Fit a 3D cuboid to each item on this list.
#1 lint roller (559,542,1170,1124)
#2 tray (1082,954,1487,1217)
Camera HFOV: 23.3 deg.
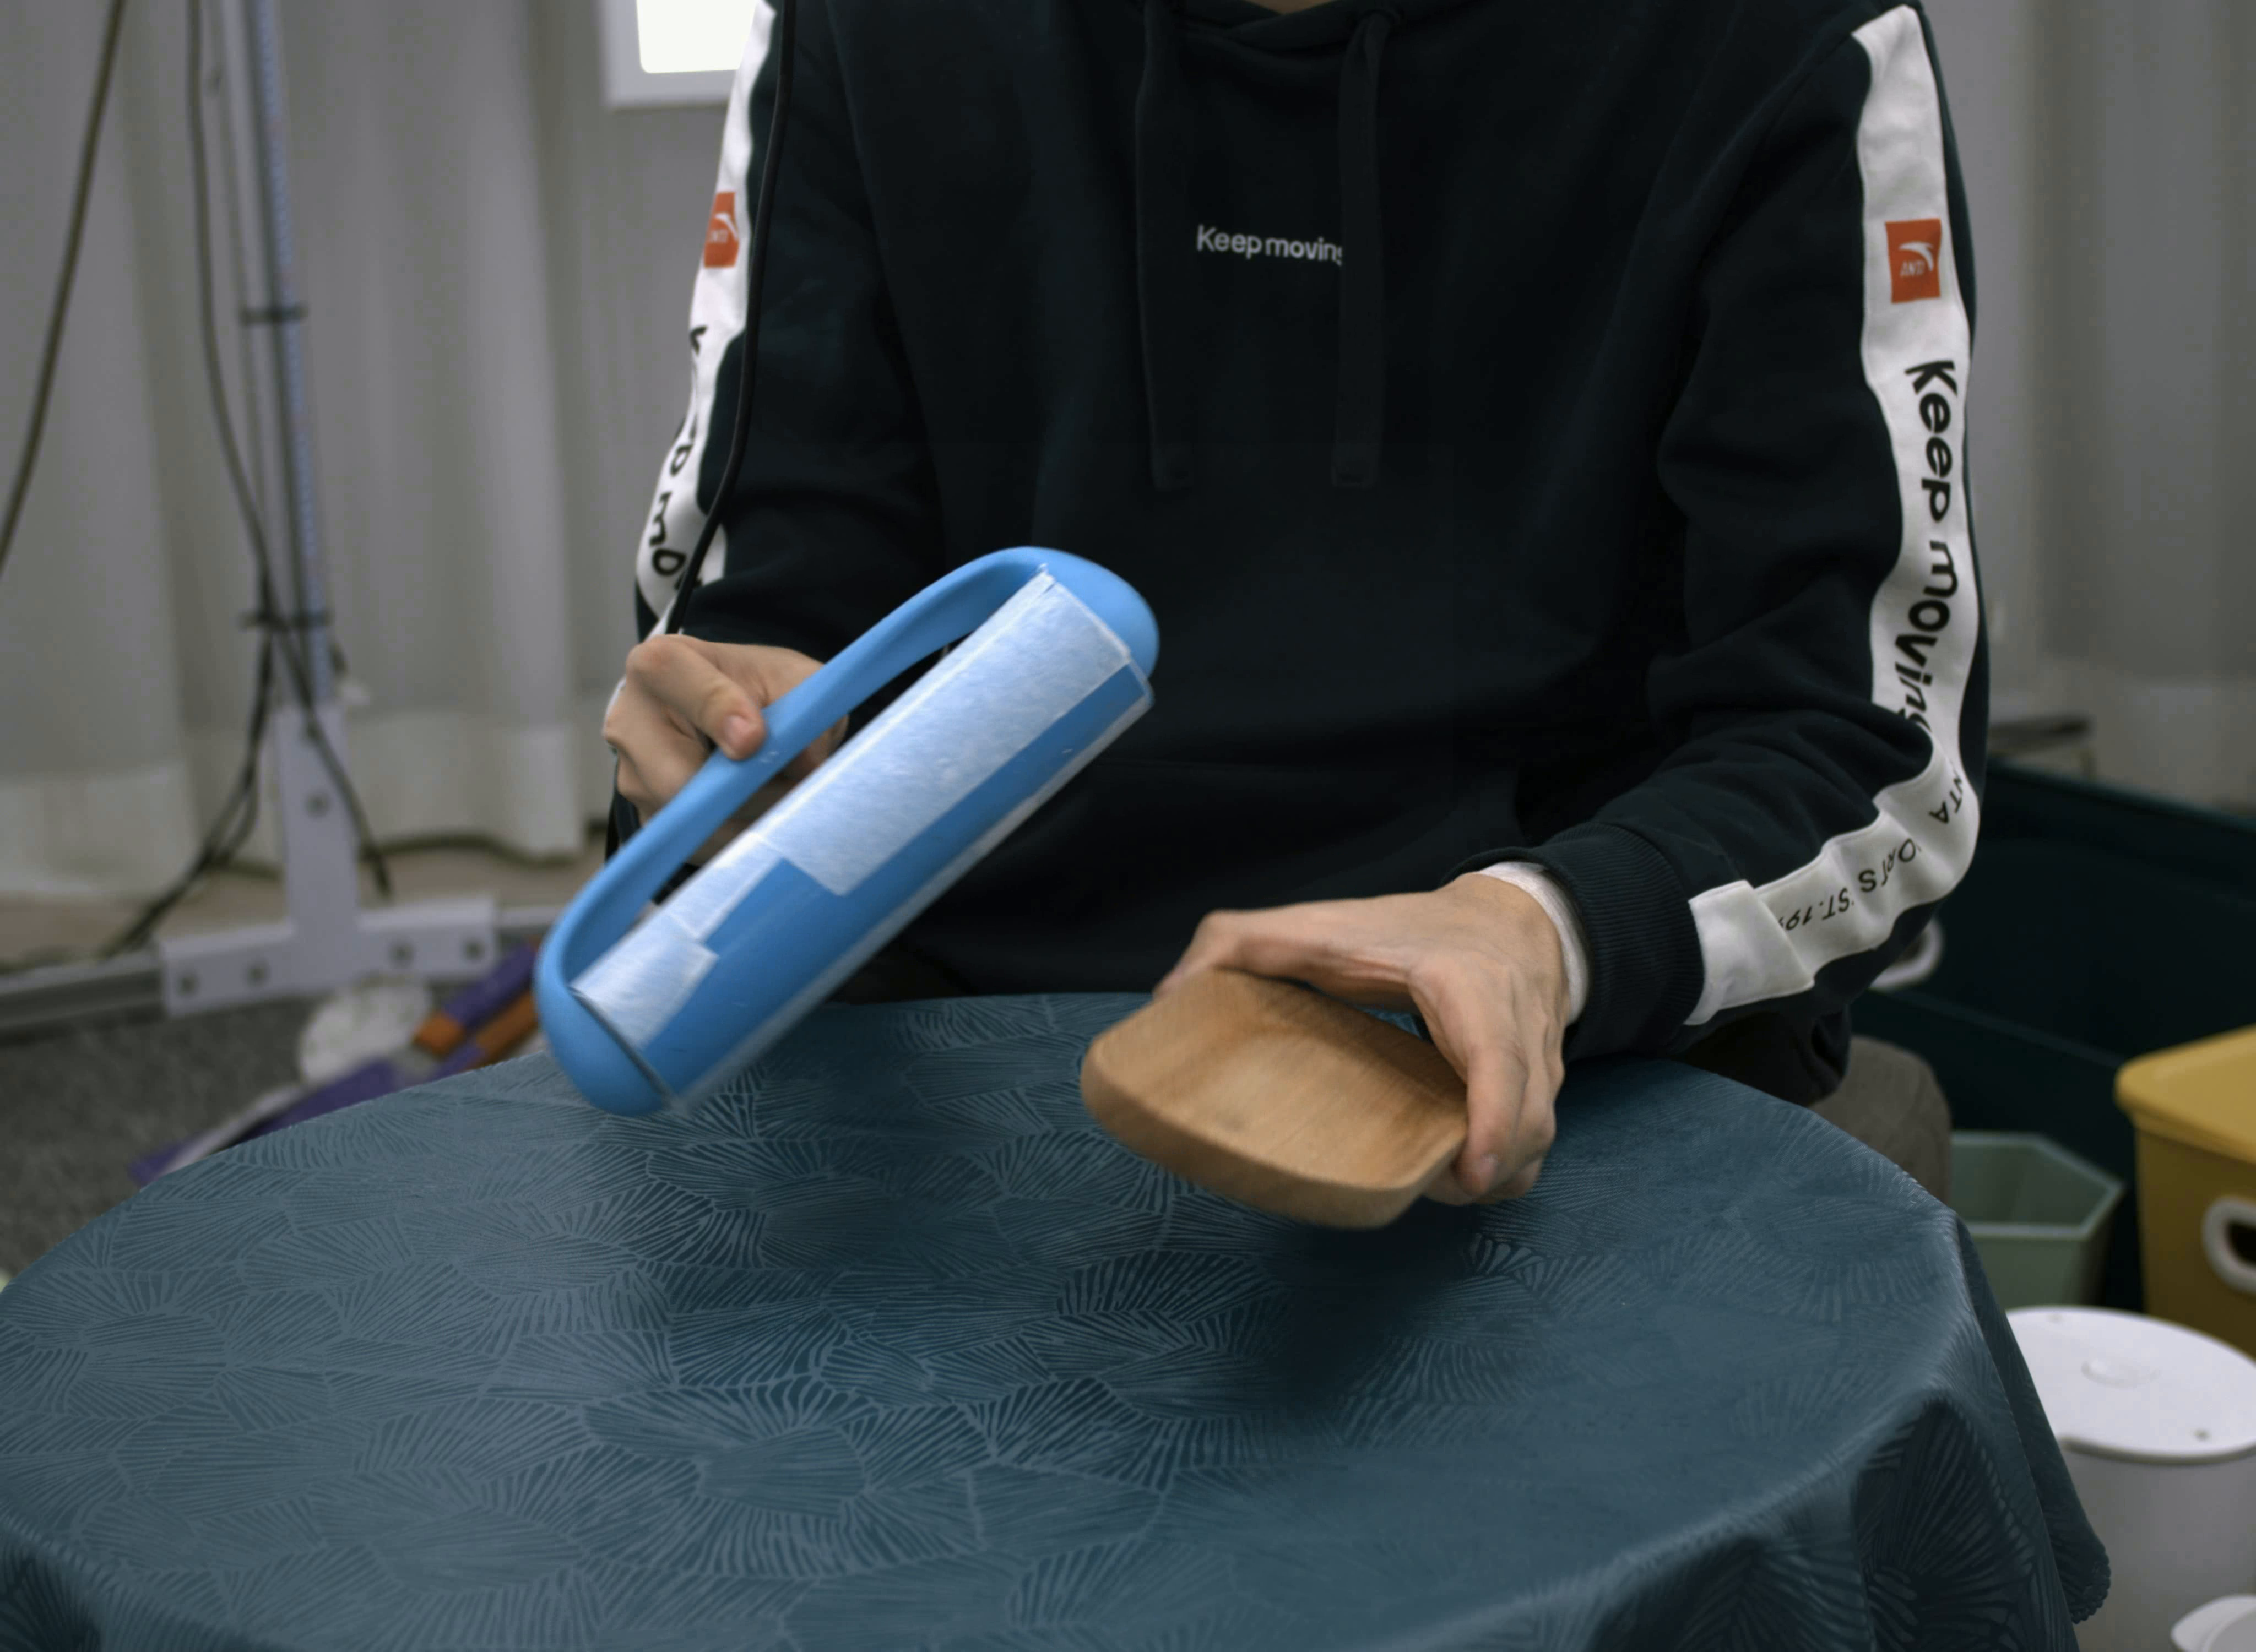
[{"bbox_3d":[-0.099,-0.004,1.719,0.229,0.067,0.181,-45,22,-12],"label":"lint roller"},{"bbox_3d":[0.047,0.075,1.600,0.102,0.020,0.231,27,10,8],"label":"tray"}]
